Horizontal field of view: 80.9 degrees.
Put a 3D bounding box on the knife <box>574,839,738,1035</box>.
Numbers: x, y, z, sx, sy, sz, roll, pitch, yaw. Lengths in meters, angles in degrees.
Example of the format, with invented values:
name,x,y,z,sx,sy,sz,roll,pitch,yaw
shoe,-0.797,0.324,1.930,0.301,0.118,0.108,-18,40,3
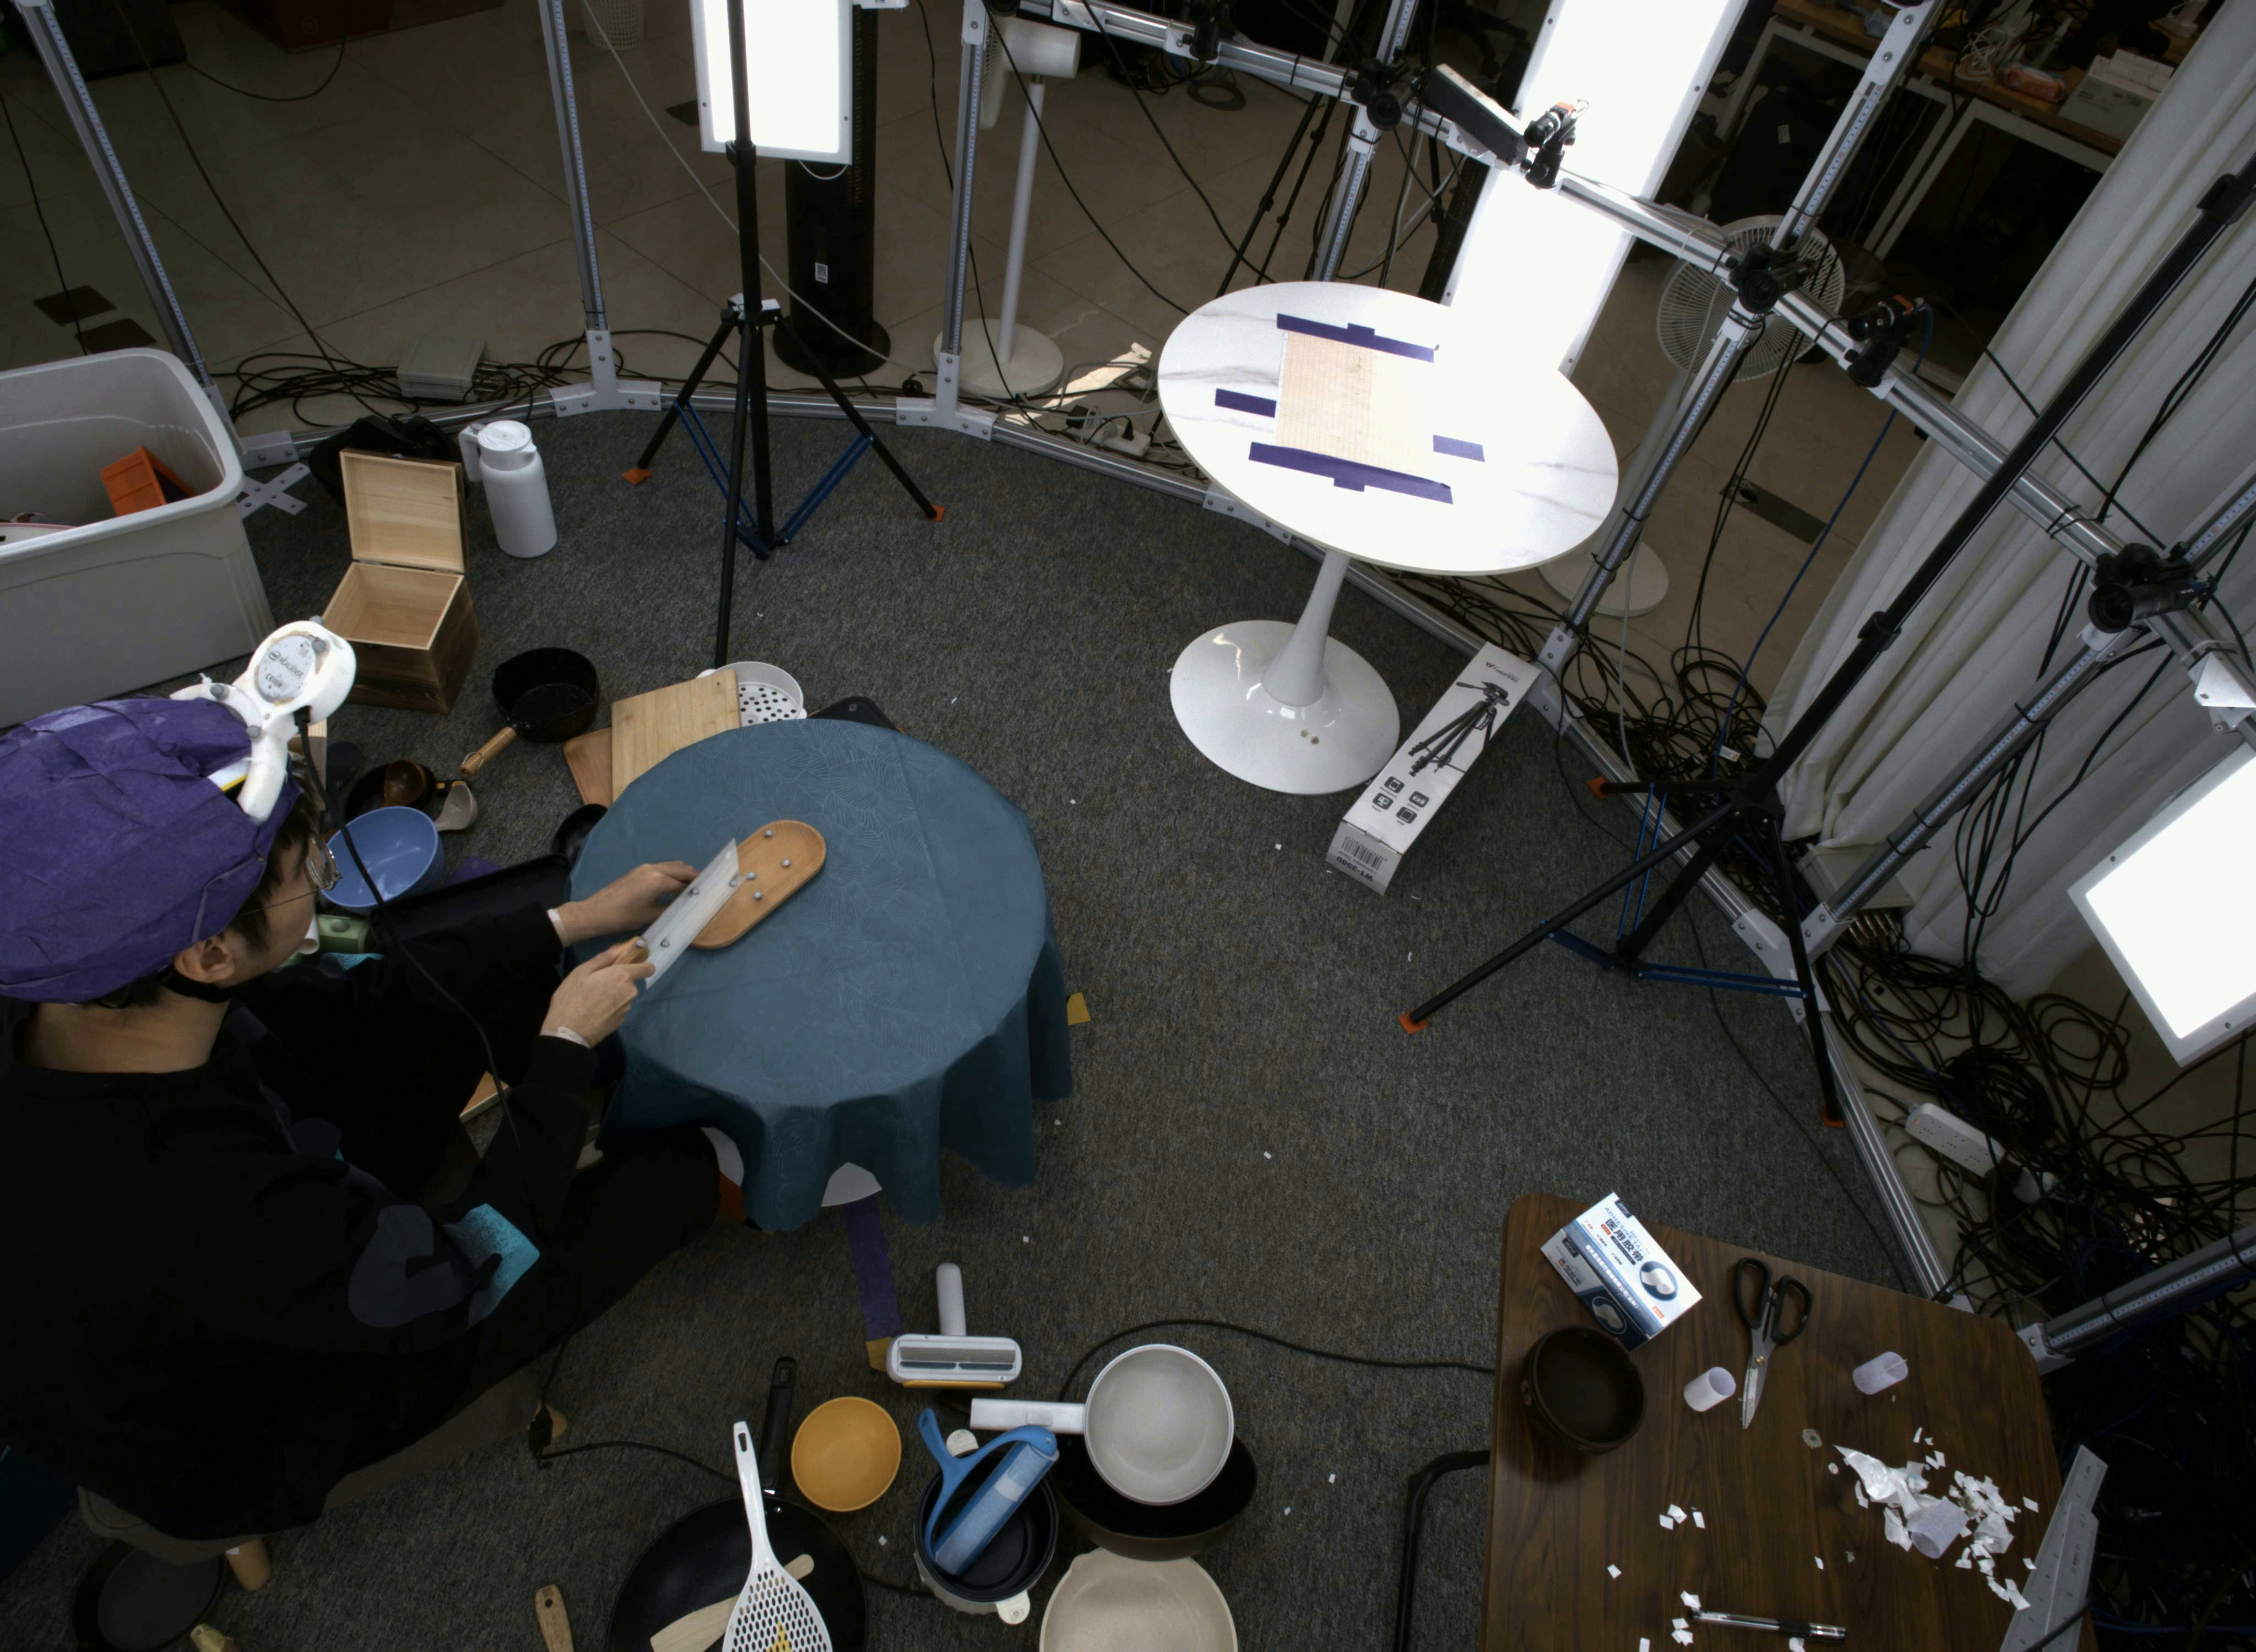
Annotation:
name,x,y,z,sx,sy,sz,roll,pitch,yaw
knife,-0.543,0.136,1.490,0.020,0.095,0.303,21,46,11

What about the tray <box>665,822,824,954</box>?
name,x,y,z,sx,sy,sz,roll,pitch,yaw
tray,-0.482,0.075,1.631,0.099,0.021,0.231,35,54,14
